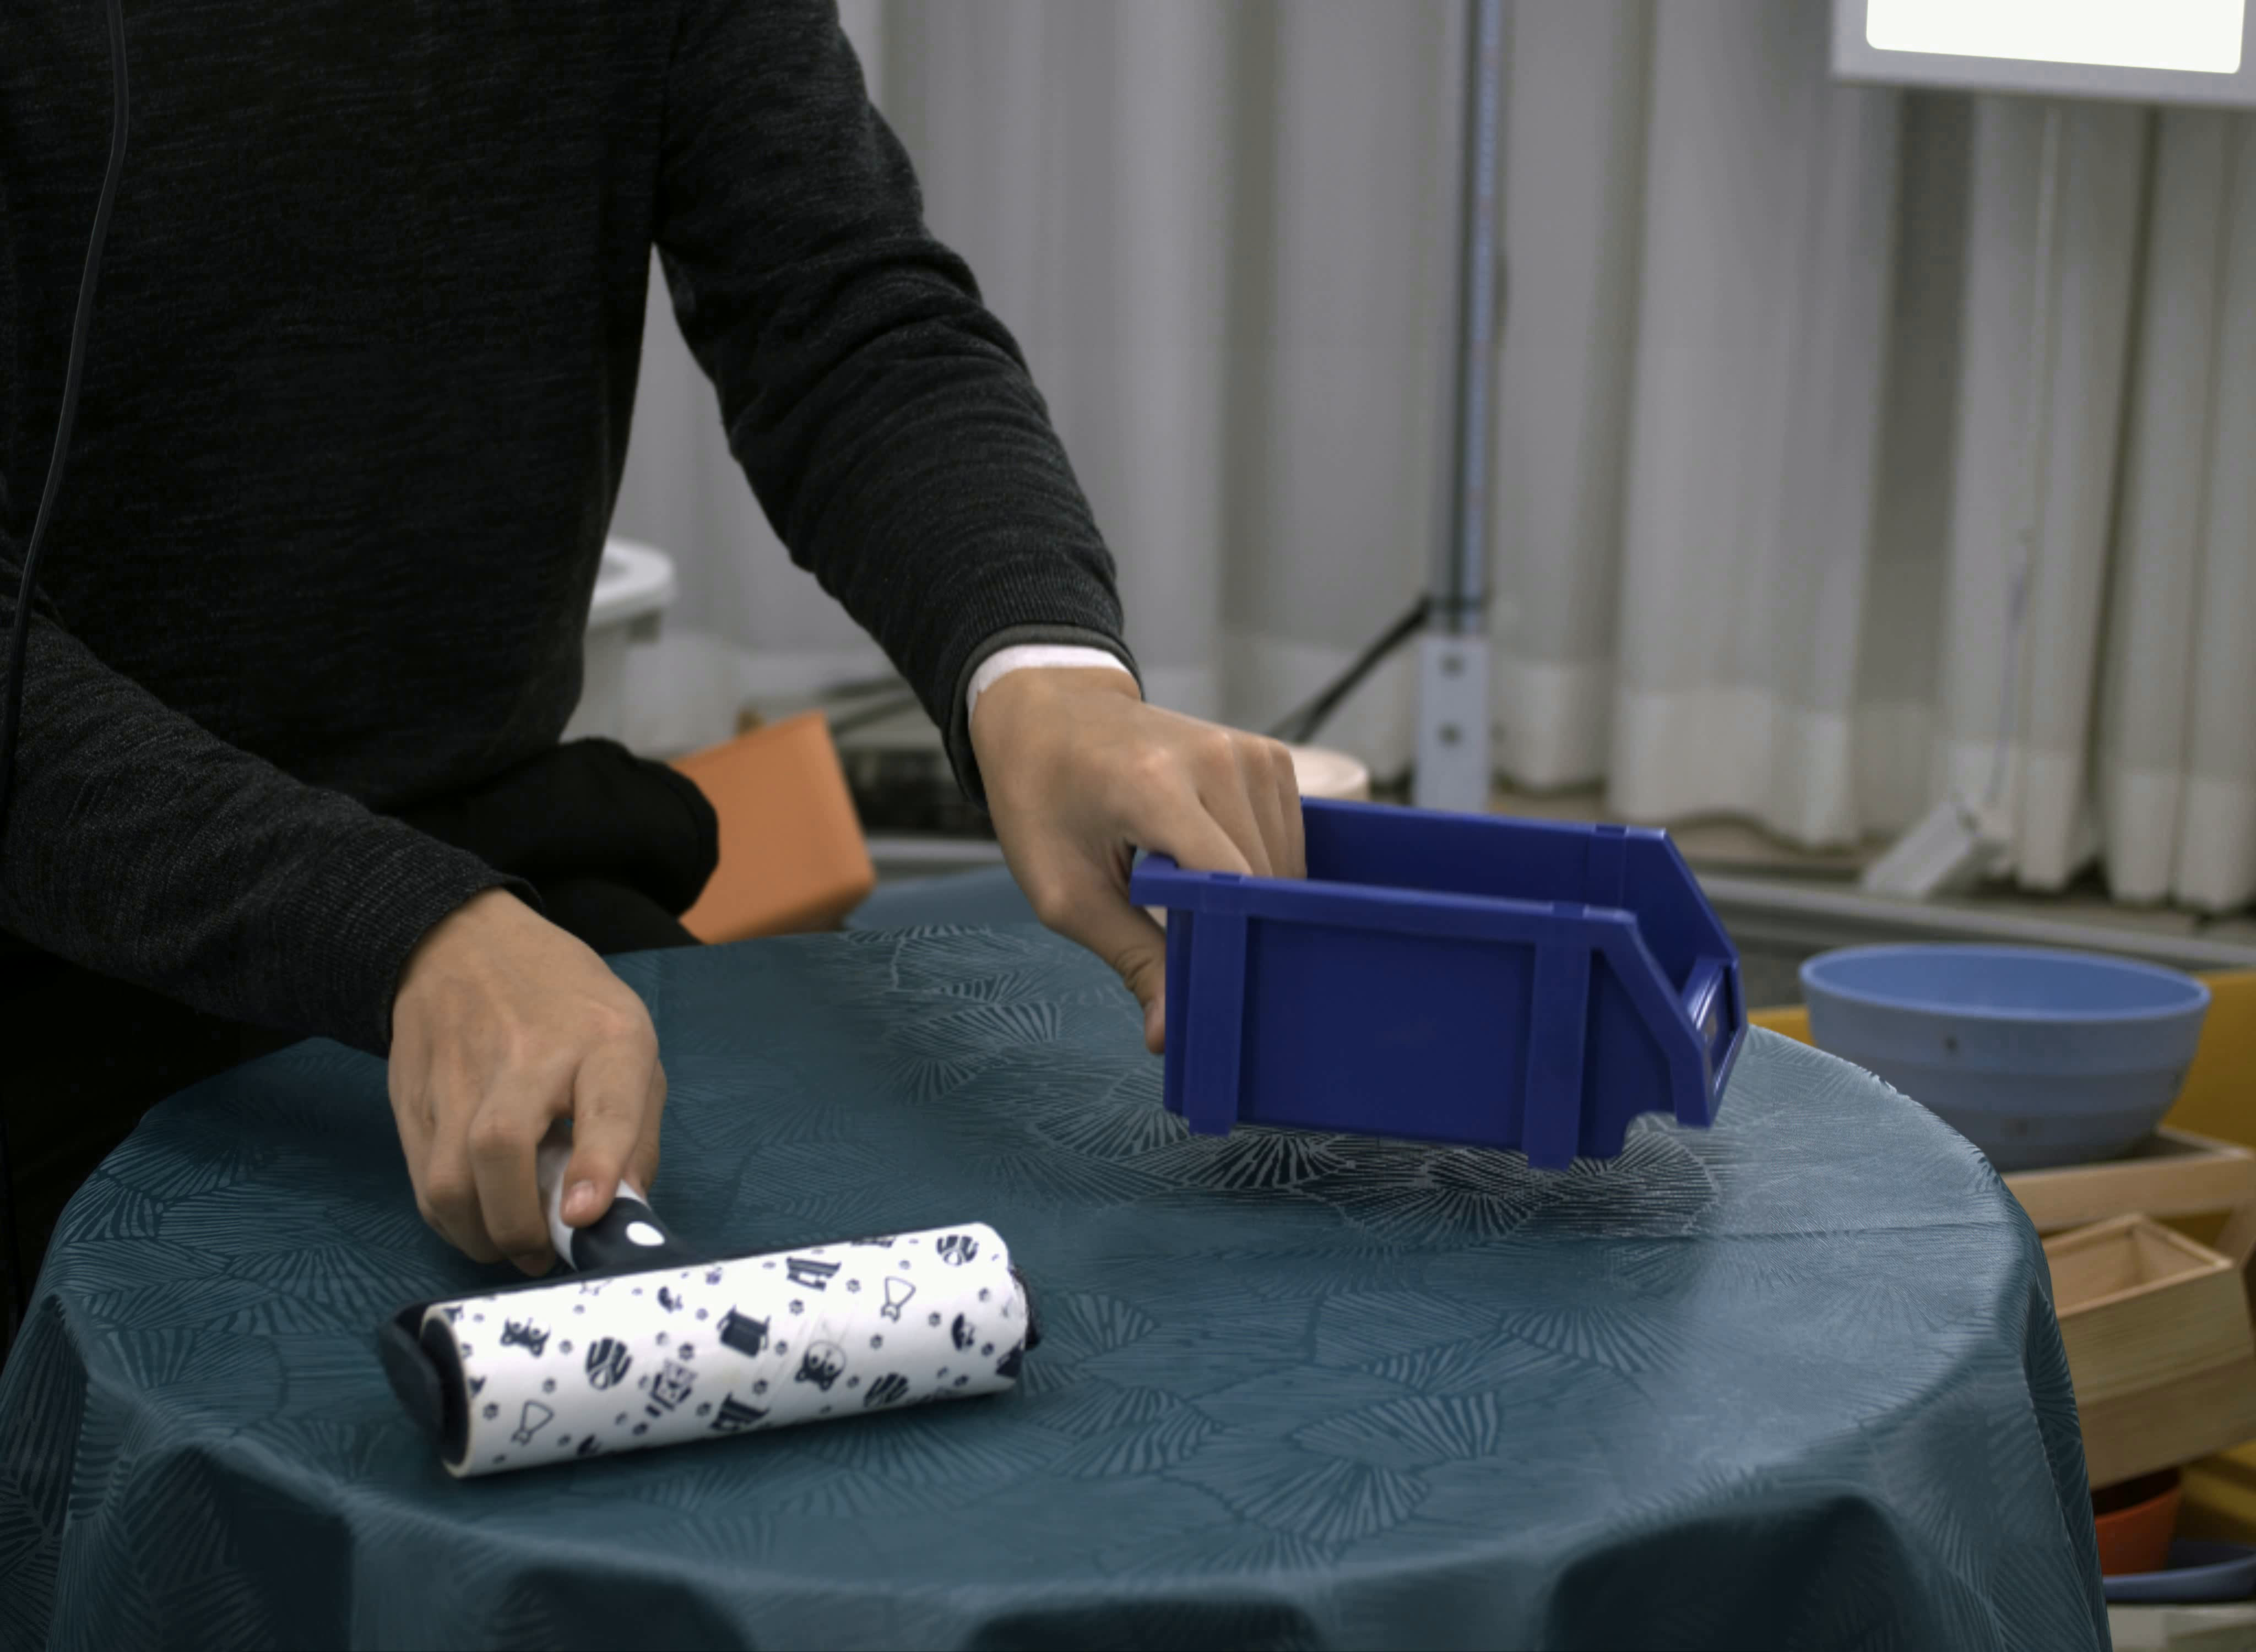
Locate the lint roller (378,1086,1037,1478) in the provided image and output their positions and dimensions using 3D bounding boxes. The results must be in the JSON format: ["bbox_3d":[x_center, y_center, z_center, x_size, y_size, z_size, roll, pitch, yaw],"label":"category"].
[{"bbox_3d":[-0.153,0.114,1.509,0.177,0.051,0.244,-8,19,-24],"label":"lint roller"}]

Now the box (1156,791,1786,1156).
[{"bbox_3d":[0.109,0.044,1.627,0.178,0.082,0.124,3,13,12],"label":"box"}]
